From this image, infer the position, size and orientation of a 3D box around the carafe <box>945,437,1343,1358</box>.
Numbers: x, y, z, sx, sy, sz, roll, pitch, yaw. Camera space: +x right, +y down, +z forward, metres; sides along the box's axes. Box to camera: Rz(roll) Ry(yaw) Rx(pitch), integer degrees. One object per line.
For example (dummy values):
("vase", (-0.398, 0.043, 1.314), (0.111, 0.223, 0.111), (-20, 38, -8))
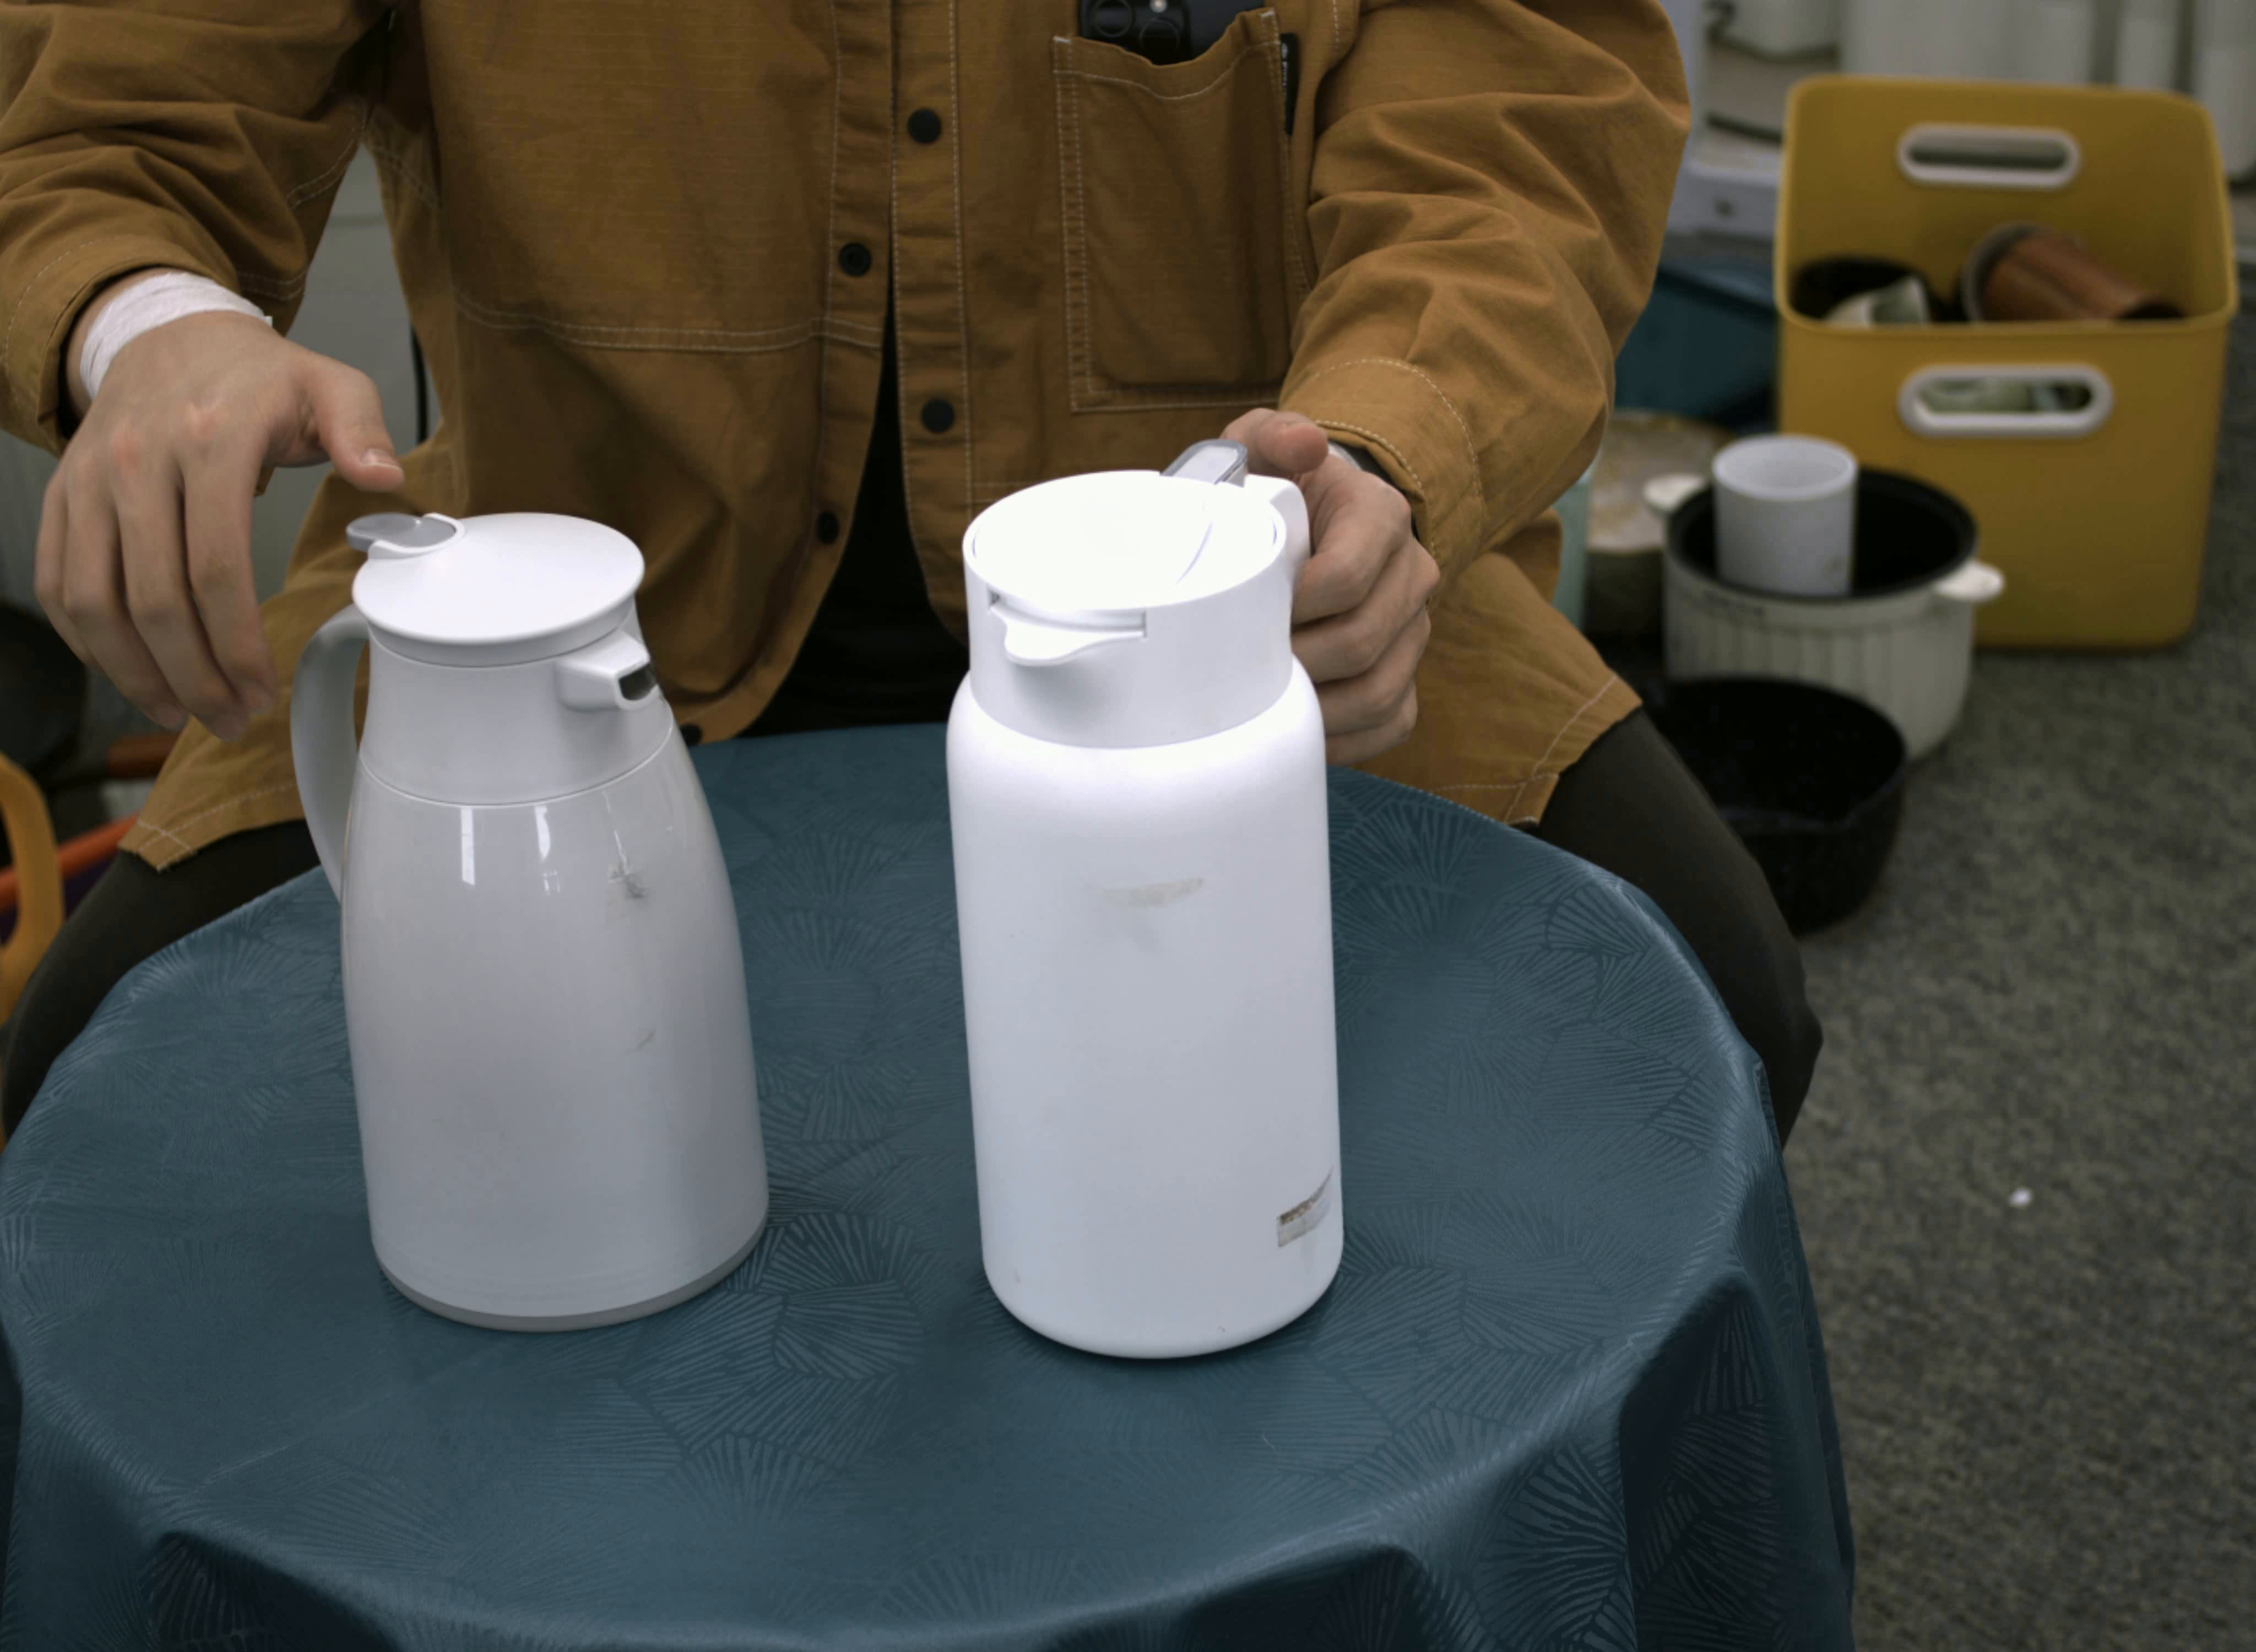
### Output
("carafe", (0.011, 0.019, 1.770), (0.123, 0.266, 0.176), (7, 28, 24))

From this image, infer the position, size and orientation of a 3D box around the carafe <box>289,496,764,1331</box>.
("carafe", (-0.206, 0.018, 1.812), (0.167, 0.246, 0.134), (18, 33, 38))
